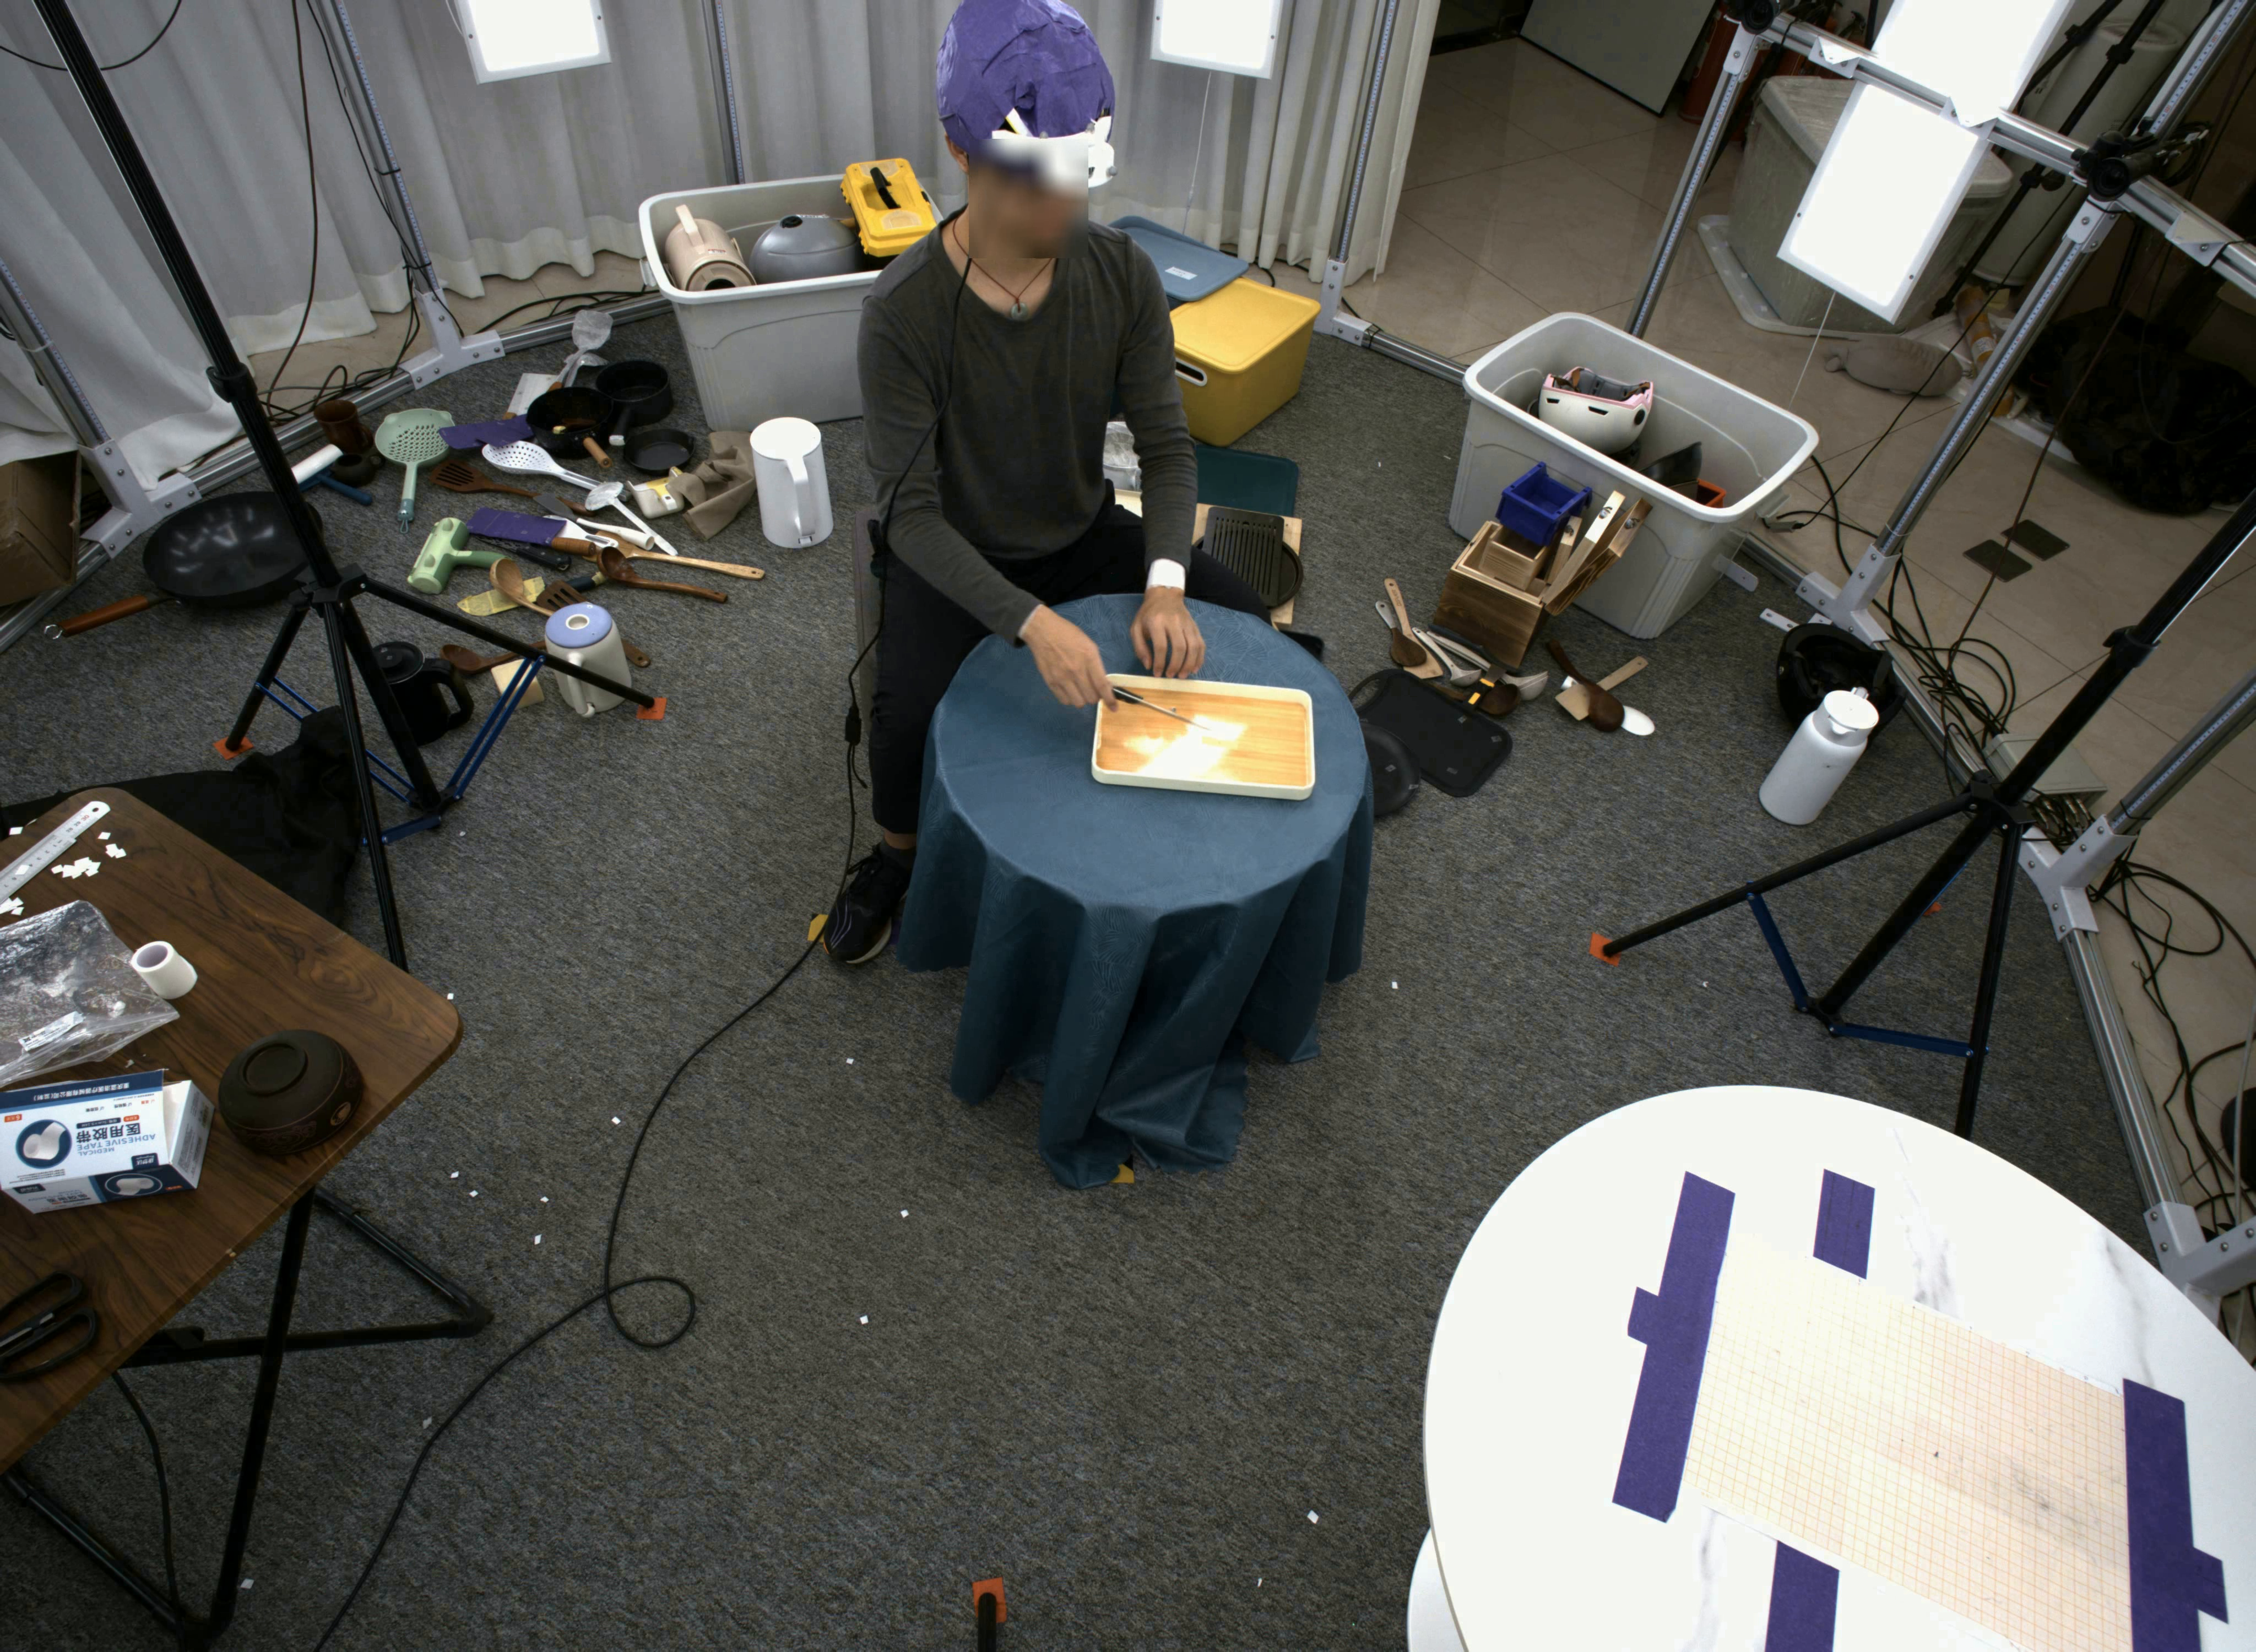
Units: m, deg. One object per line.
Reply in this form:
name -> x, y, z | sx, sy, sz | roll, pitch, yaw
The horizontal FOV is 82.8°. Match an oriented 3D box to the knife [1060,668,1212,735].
knife -> 0.007, -0.164, 1.691 | 0.241, 0.024, 0.016 | 25, 85, 24

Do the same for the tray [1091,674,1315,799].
tray -> 0.104, -0.126, 1.767 | 0.300, 0.027, 0.196 | 5, 48, 0
